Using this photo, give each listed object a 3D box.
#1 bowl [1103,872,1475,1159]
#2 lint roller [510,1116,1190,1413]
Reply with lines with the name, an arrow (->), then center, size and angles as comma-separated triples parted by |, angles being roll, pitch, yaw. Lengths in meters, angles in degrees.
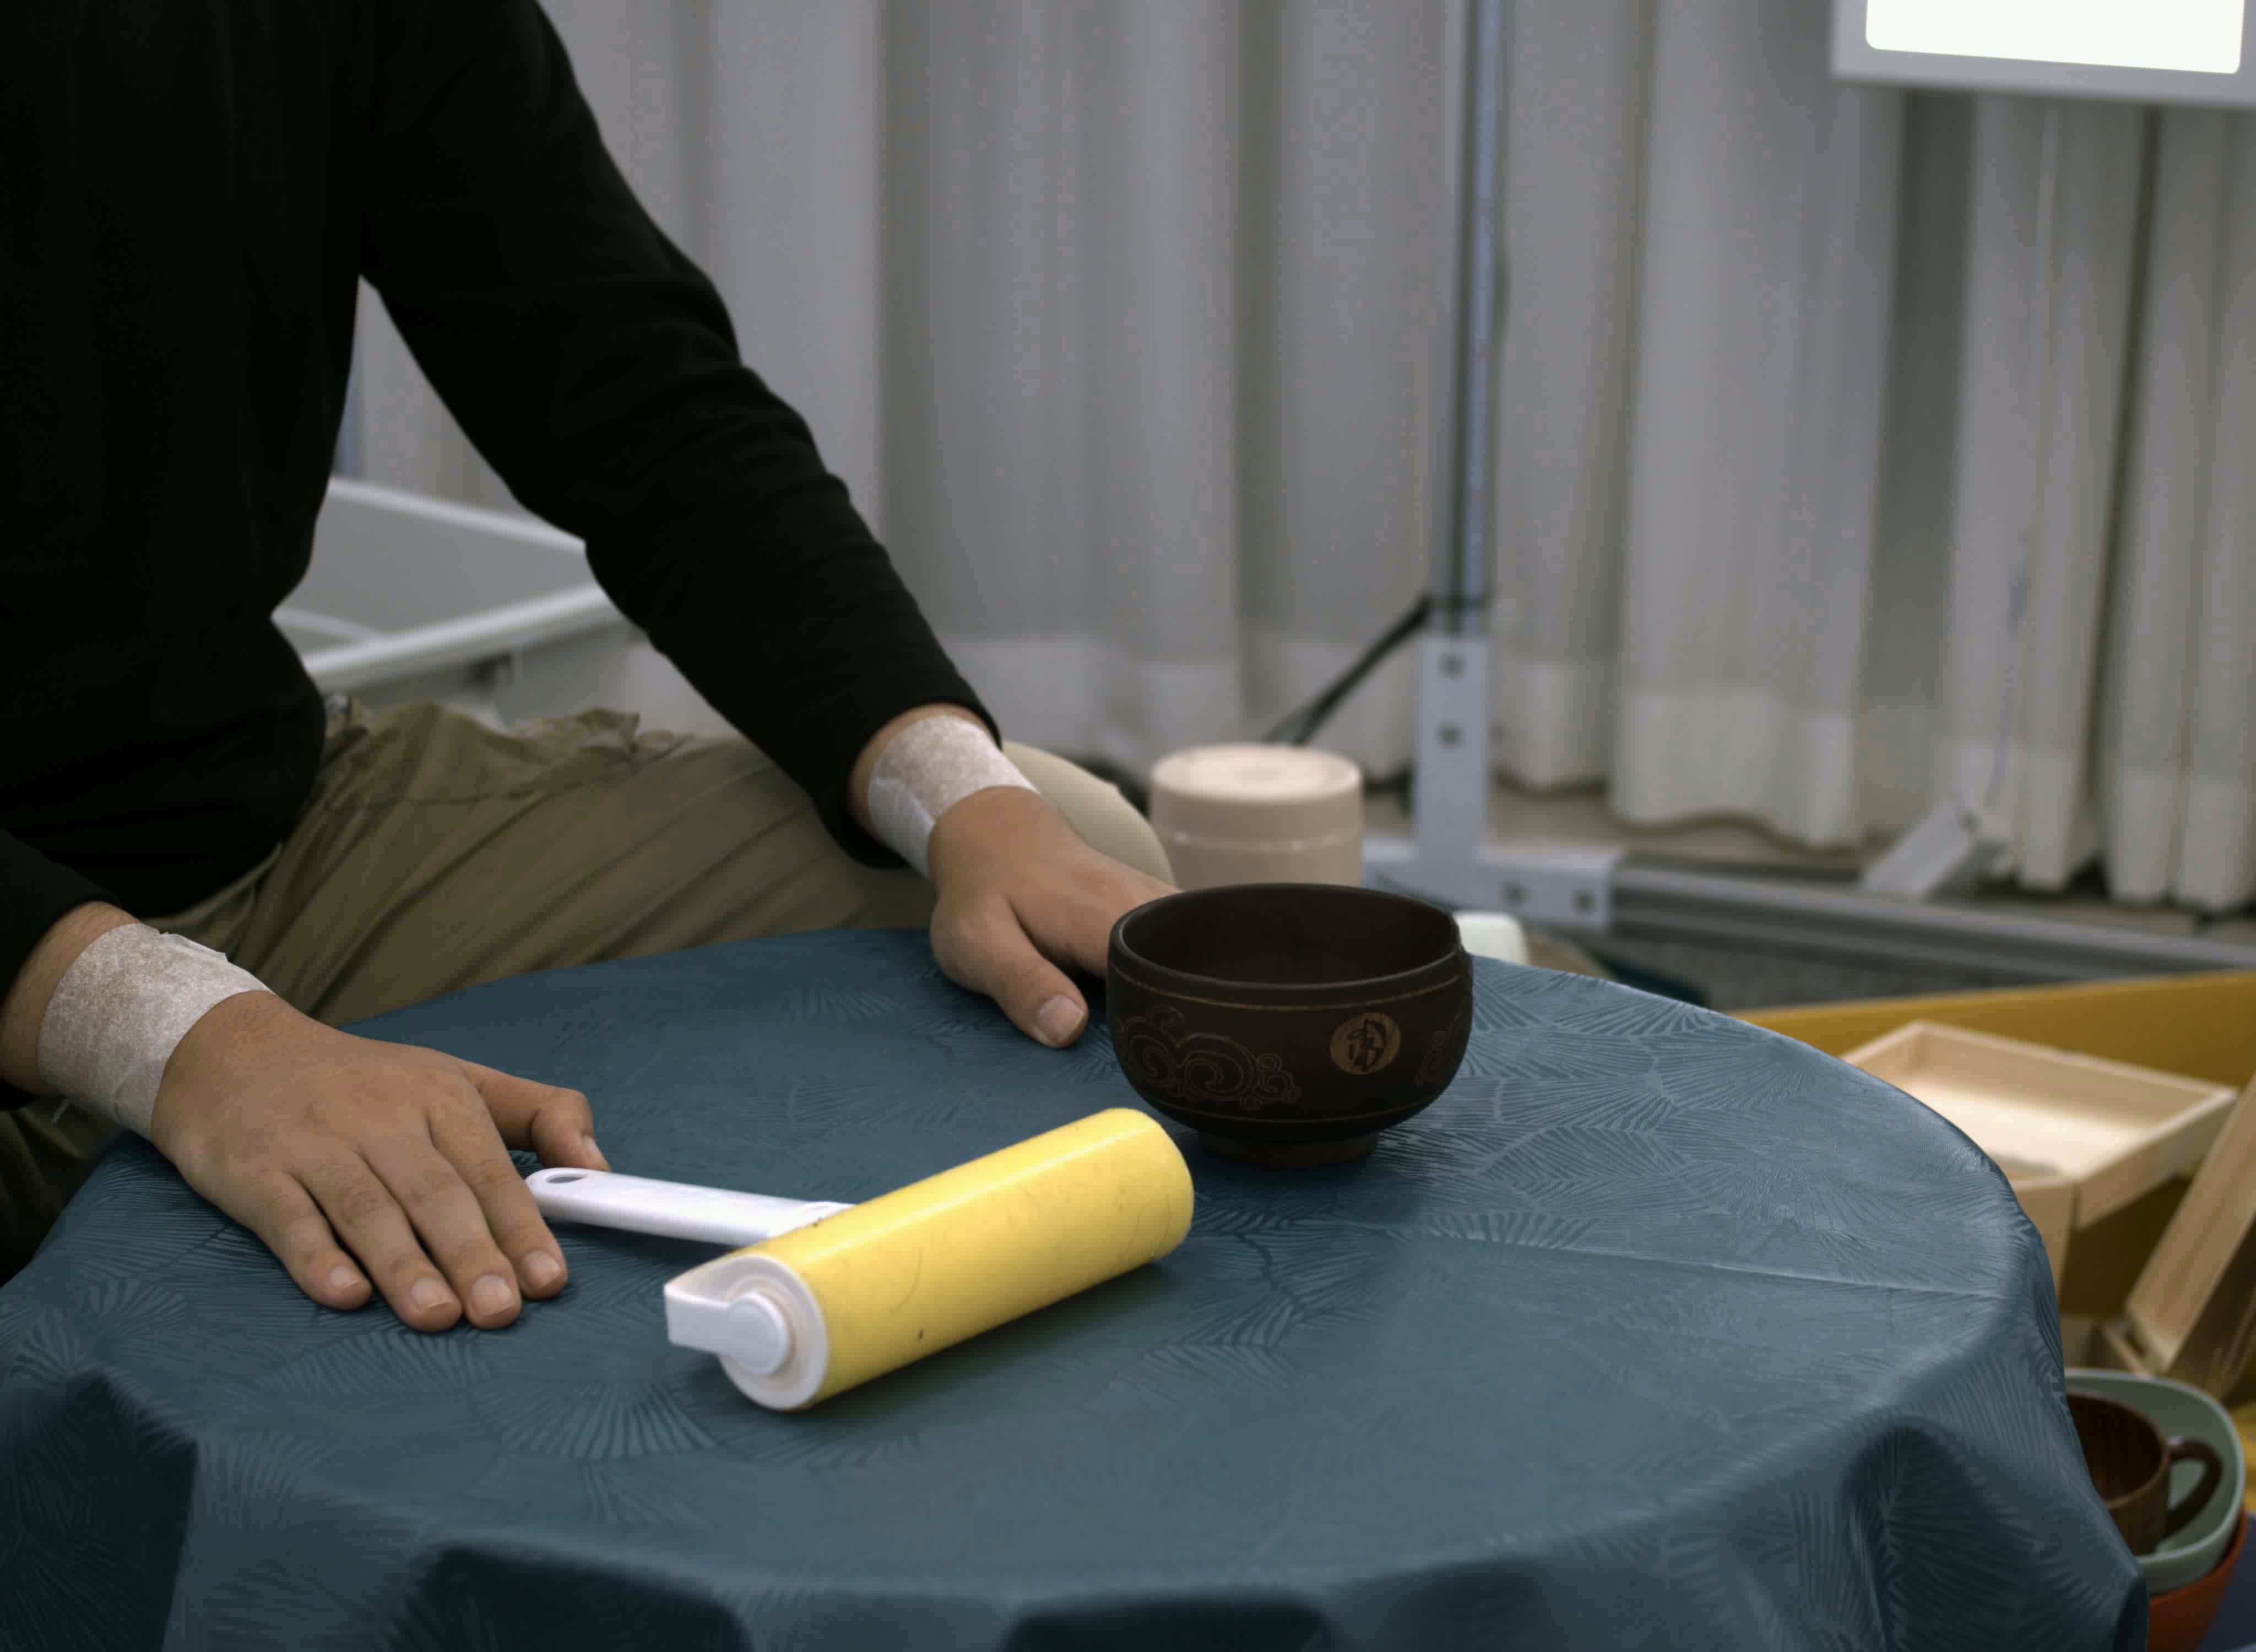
bowl -> 0.050, 0.063, 1.659 | 0.117, 0.070, 0.117 | 2, 16, 0
lint roller -> -0.106, 0.108, 1.535 | 0.189, 0.052, 0.175 | 17, 22, 33
